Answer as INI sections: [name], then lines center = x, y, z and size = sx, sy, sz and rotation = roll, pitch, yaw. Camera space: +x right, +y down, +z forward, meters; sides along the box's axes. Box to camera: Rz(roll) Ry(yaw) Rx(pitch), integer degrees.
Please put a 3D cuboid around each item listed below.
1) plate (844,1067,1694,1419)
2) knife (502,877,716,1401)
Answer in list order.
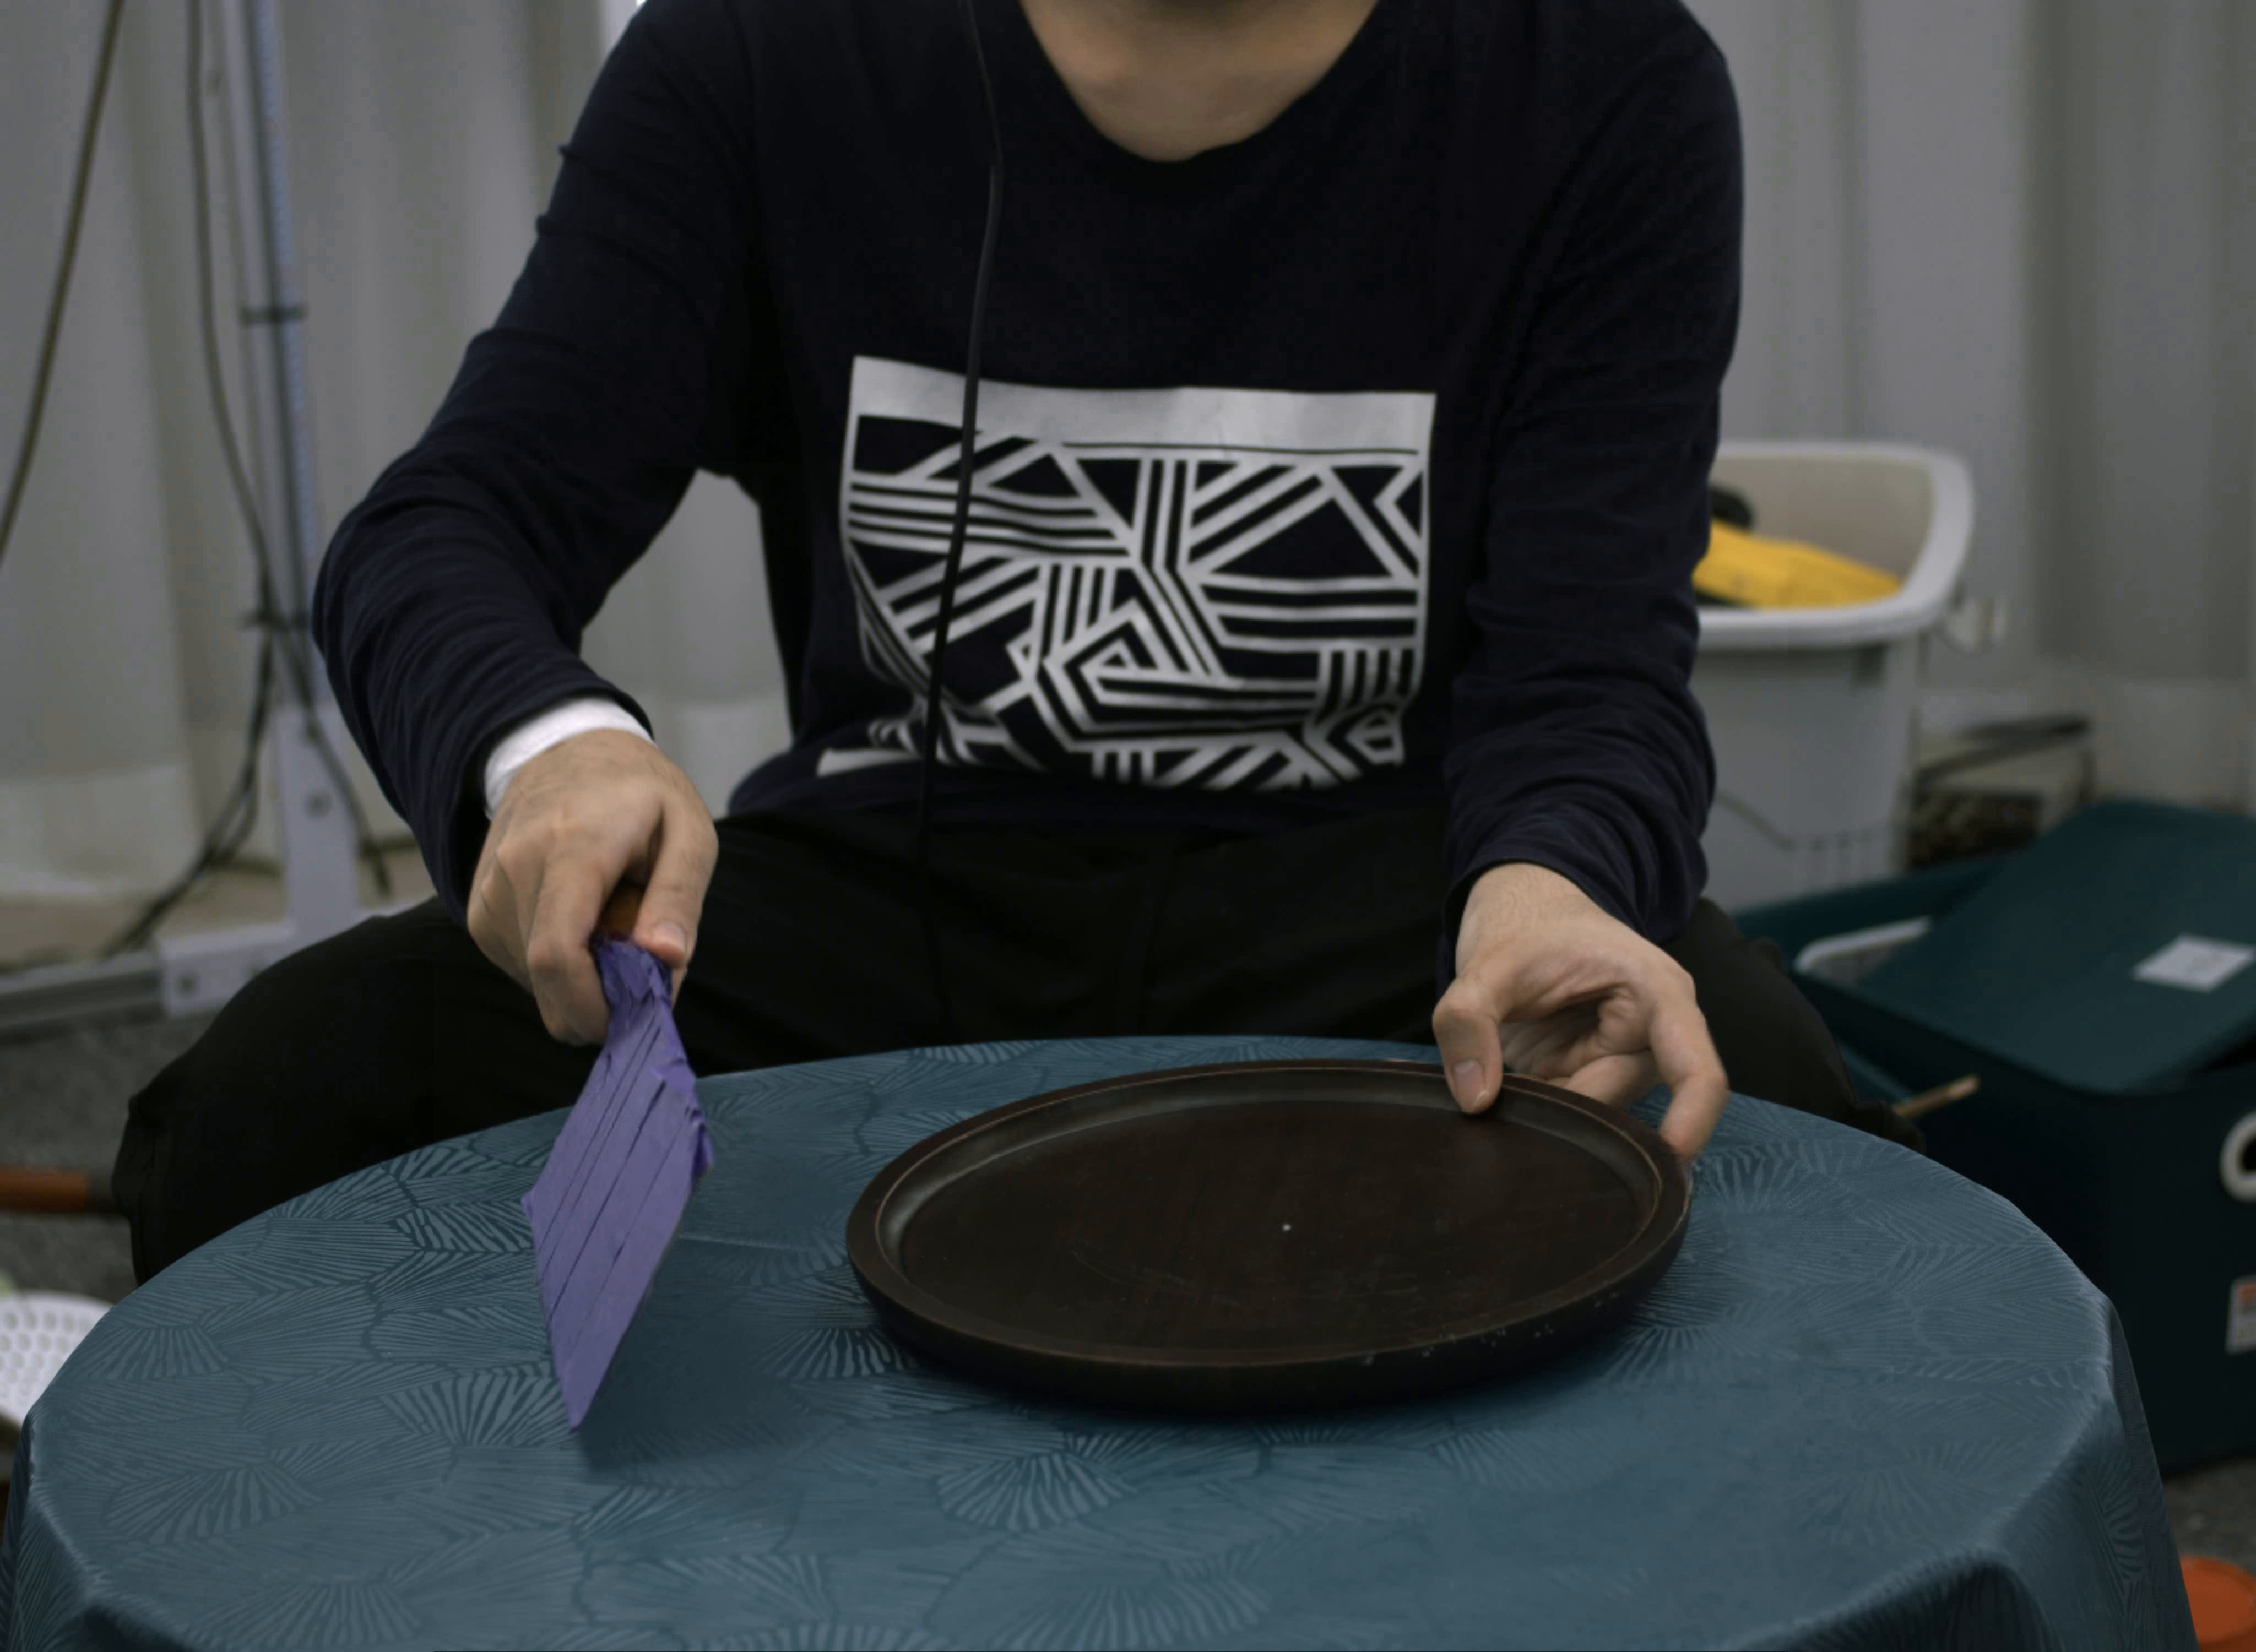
[plate]
center = 0.042, 0.121, 1.625
size = 0.254, 0.029, 0.257
rotation = -3, 18, 1
[knife]
center = -0.161, 0.090, 1.642
size = 0.032, 0.104, 0.317
rotation = 27, 7, -12
